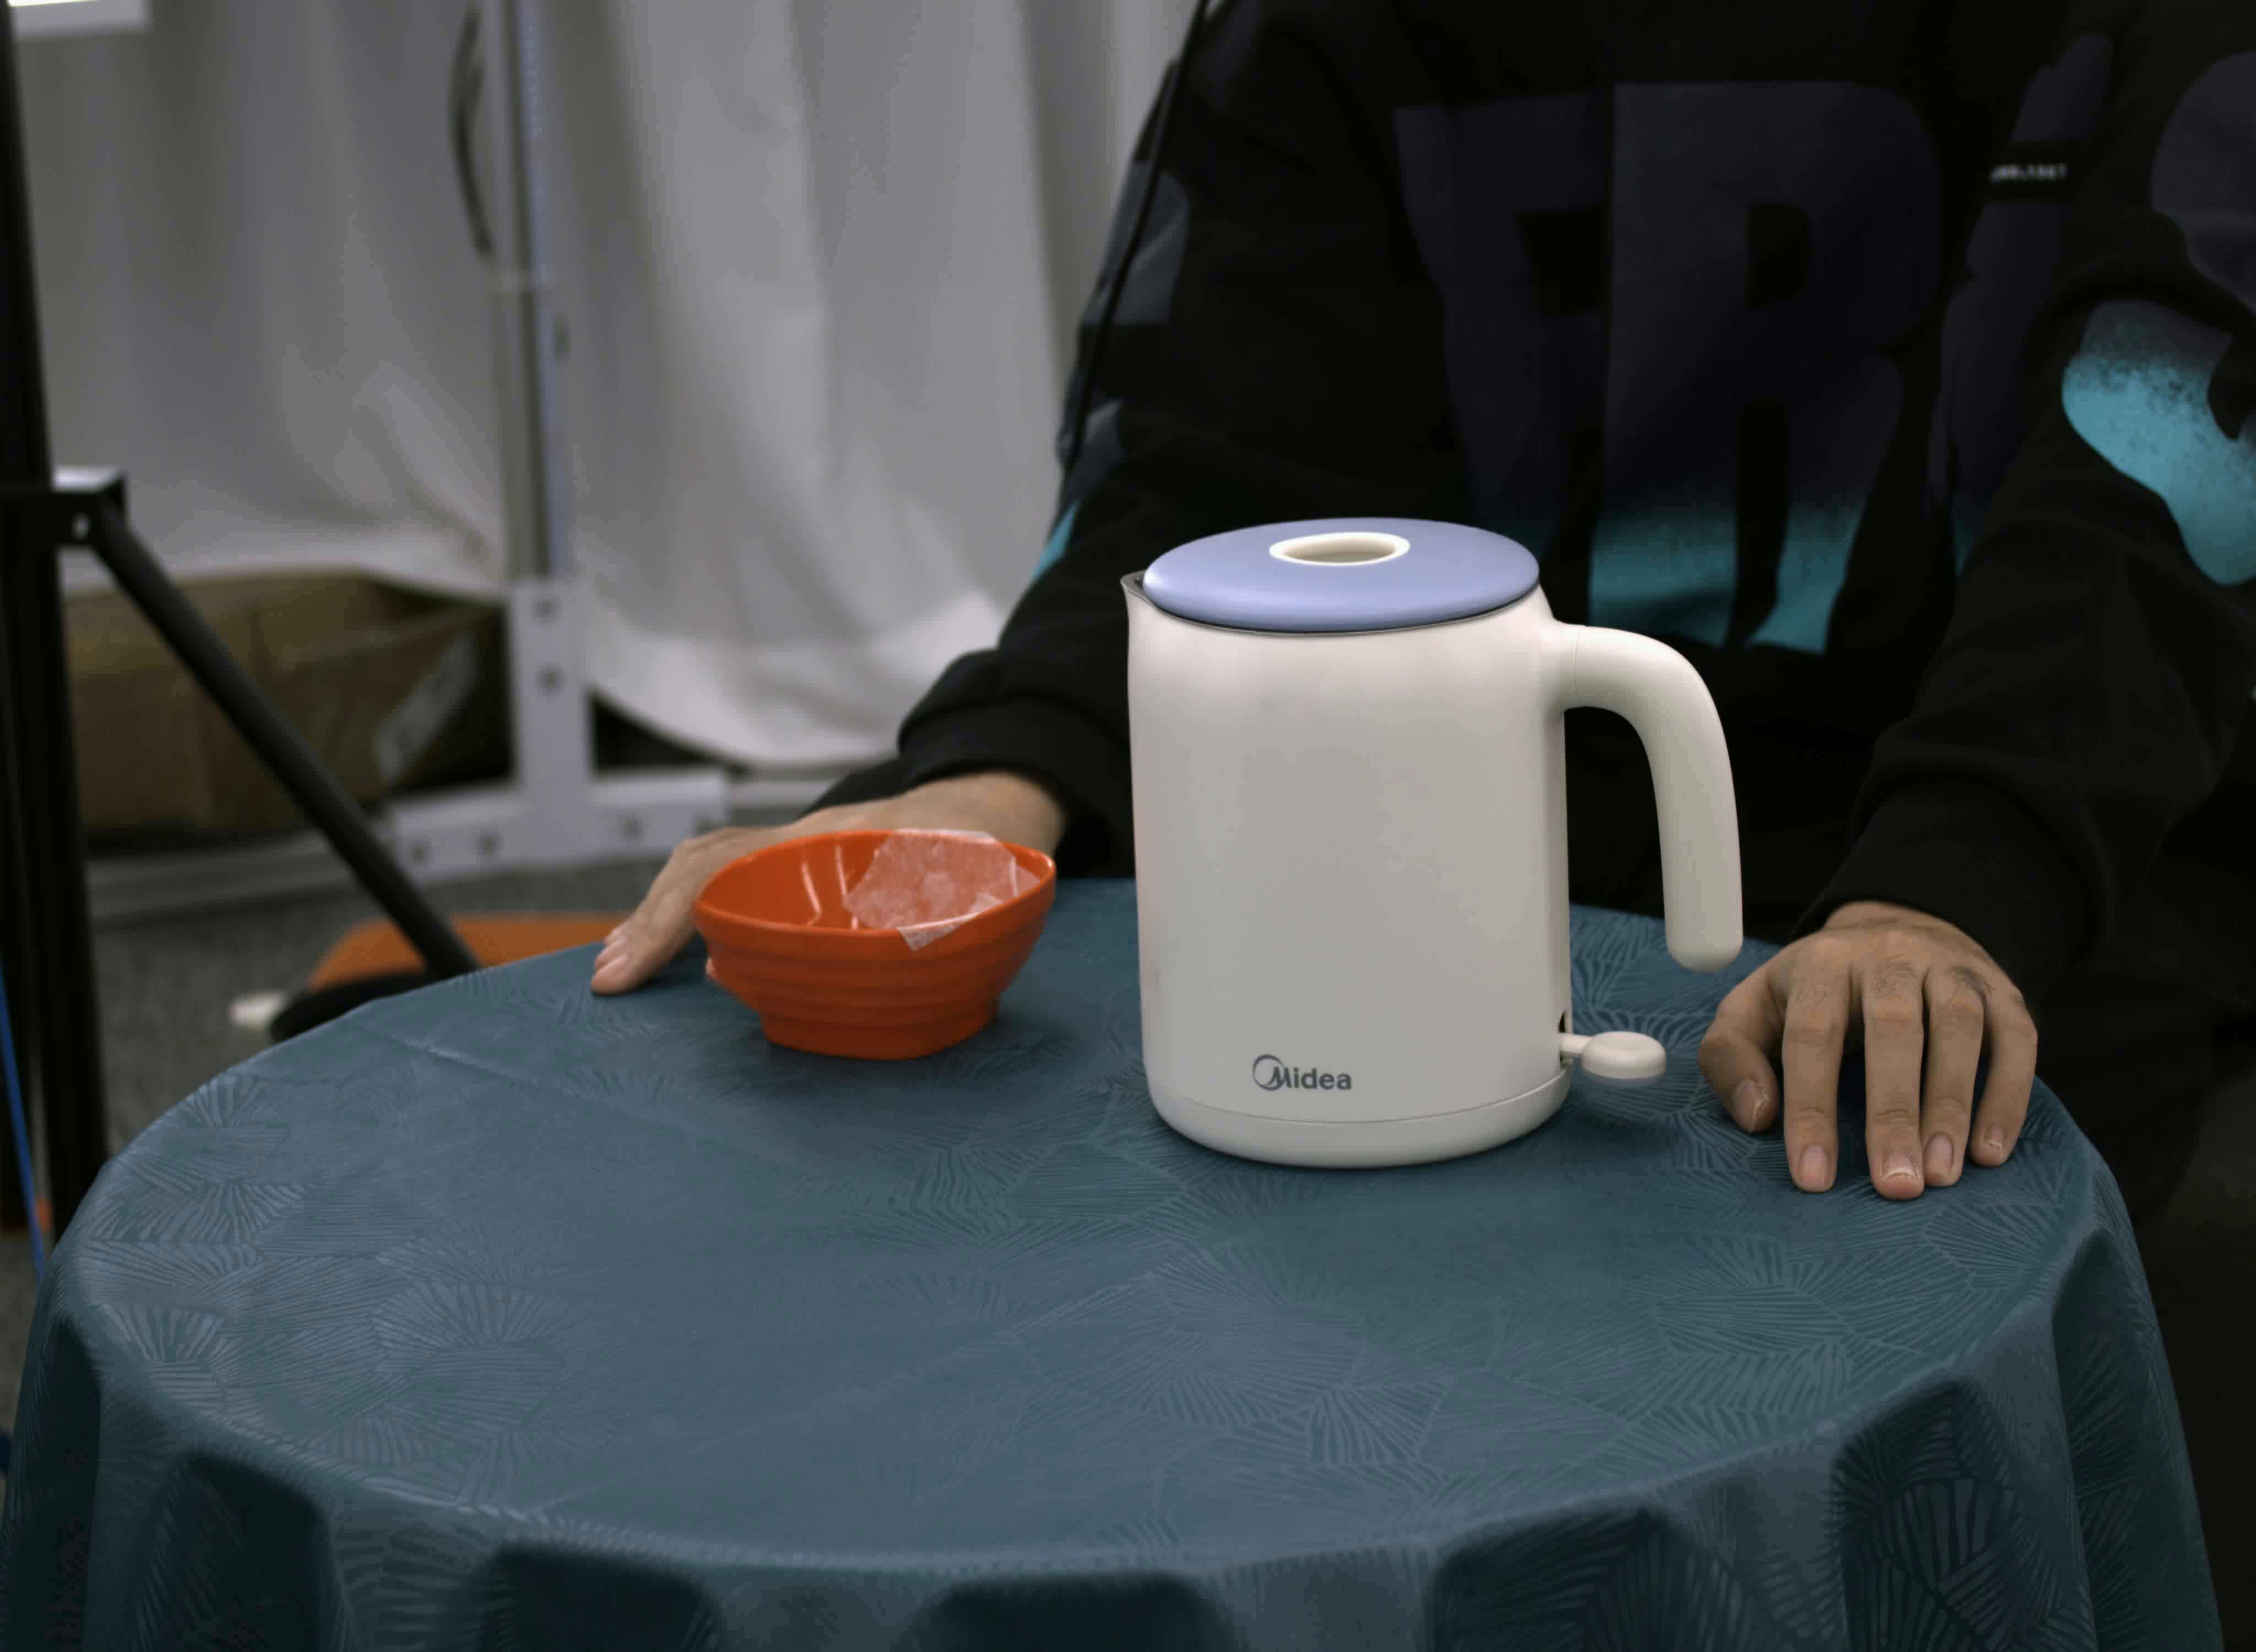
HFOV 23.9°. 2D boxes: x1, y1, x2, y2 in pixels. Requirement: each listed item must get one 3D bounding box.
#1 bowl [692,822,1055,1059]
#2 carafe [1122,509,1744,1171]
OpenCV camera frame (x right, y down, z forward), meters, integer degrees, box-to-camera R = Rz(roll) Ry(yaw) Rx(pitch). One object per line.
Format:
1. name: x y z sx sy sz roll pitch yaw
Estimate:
1. bowl: -0.080 0.039 1.716 0.118 0.051 0.119 -5 17 0
2. carafe: 0.091 0.005 1.594 0.193 0.182 0.131 4 18 16
